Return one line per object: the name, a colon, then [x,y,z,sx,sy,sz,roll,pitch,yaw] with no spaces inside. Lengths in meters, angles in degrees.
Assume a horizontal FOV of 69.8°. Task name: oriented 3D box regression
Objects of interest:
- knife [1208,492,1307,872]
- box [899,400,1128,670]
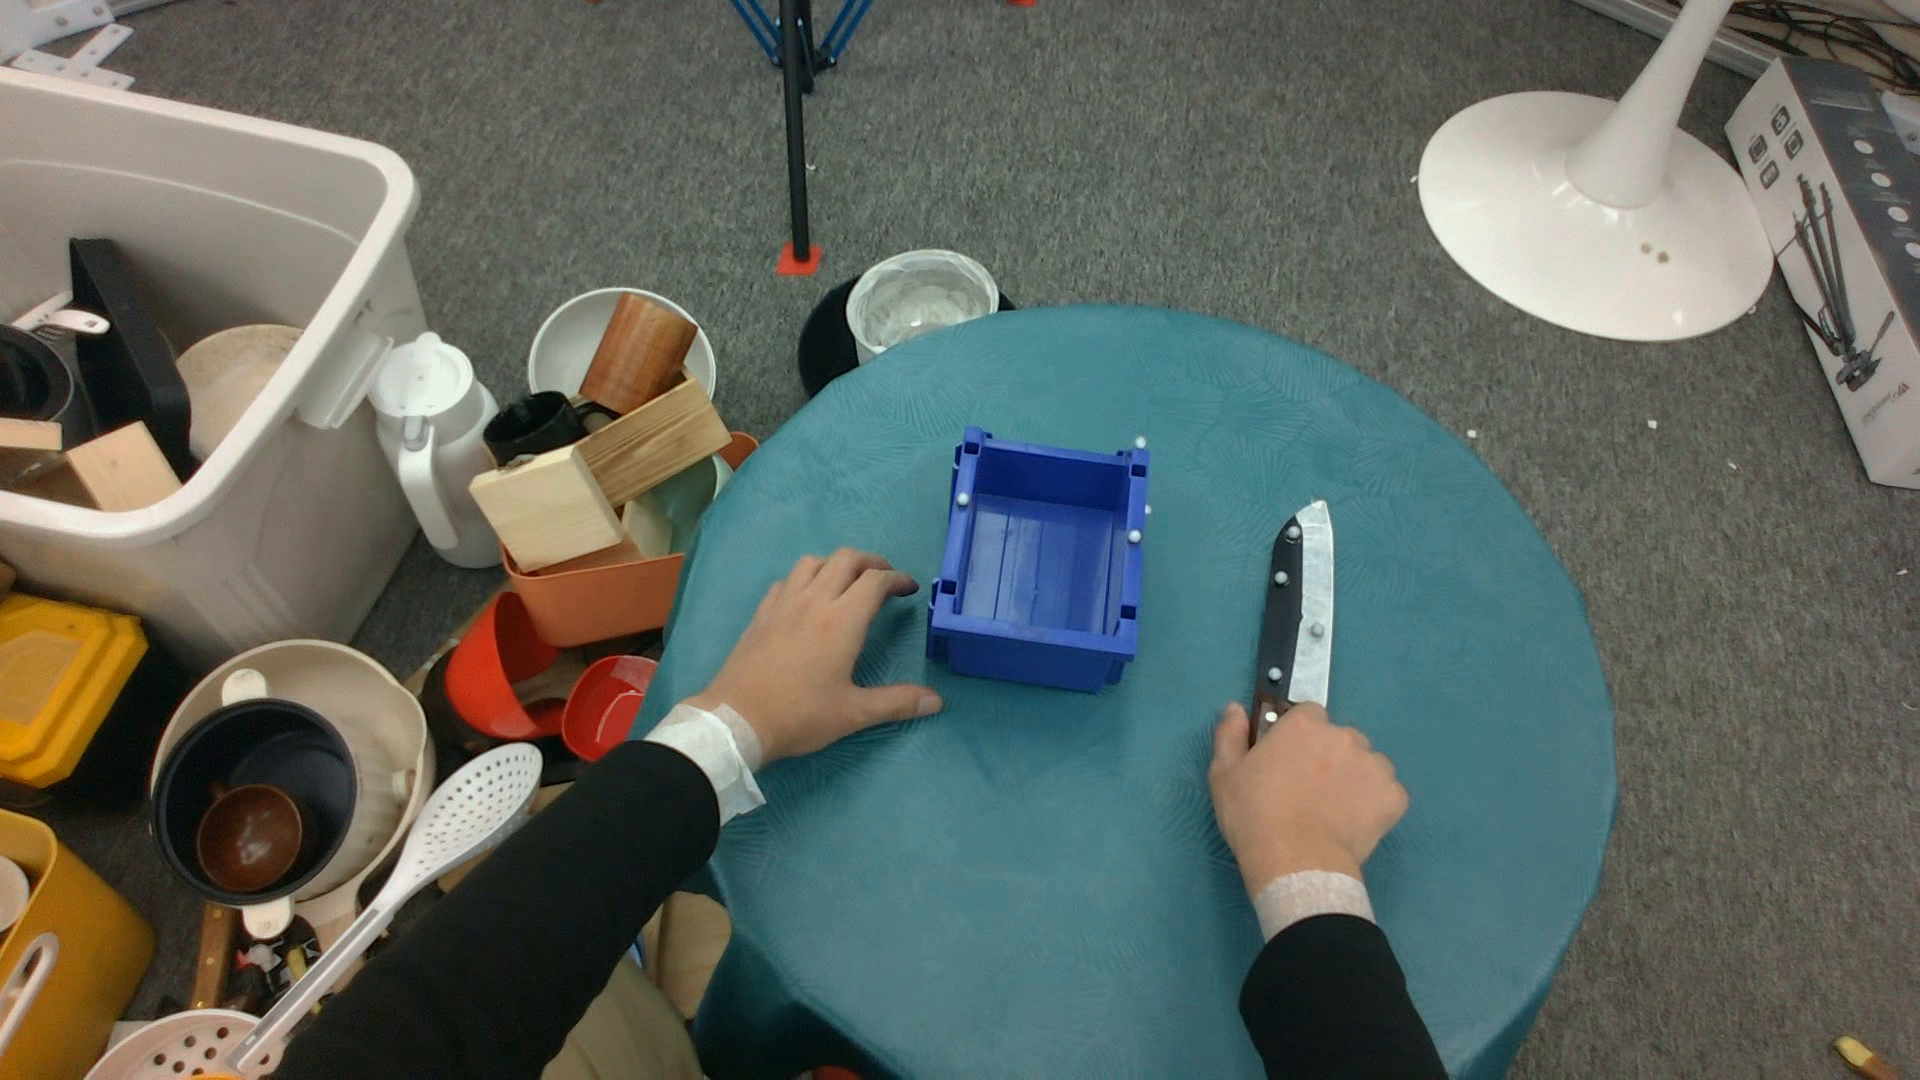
knife: [0.191,0.078,0.873,0.050,0.020,0.290,13,54,8]
box: [0.035,-0.010,0.878,0.124,0.081,0.180,9,59,2]
